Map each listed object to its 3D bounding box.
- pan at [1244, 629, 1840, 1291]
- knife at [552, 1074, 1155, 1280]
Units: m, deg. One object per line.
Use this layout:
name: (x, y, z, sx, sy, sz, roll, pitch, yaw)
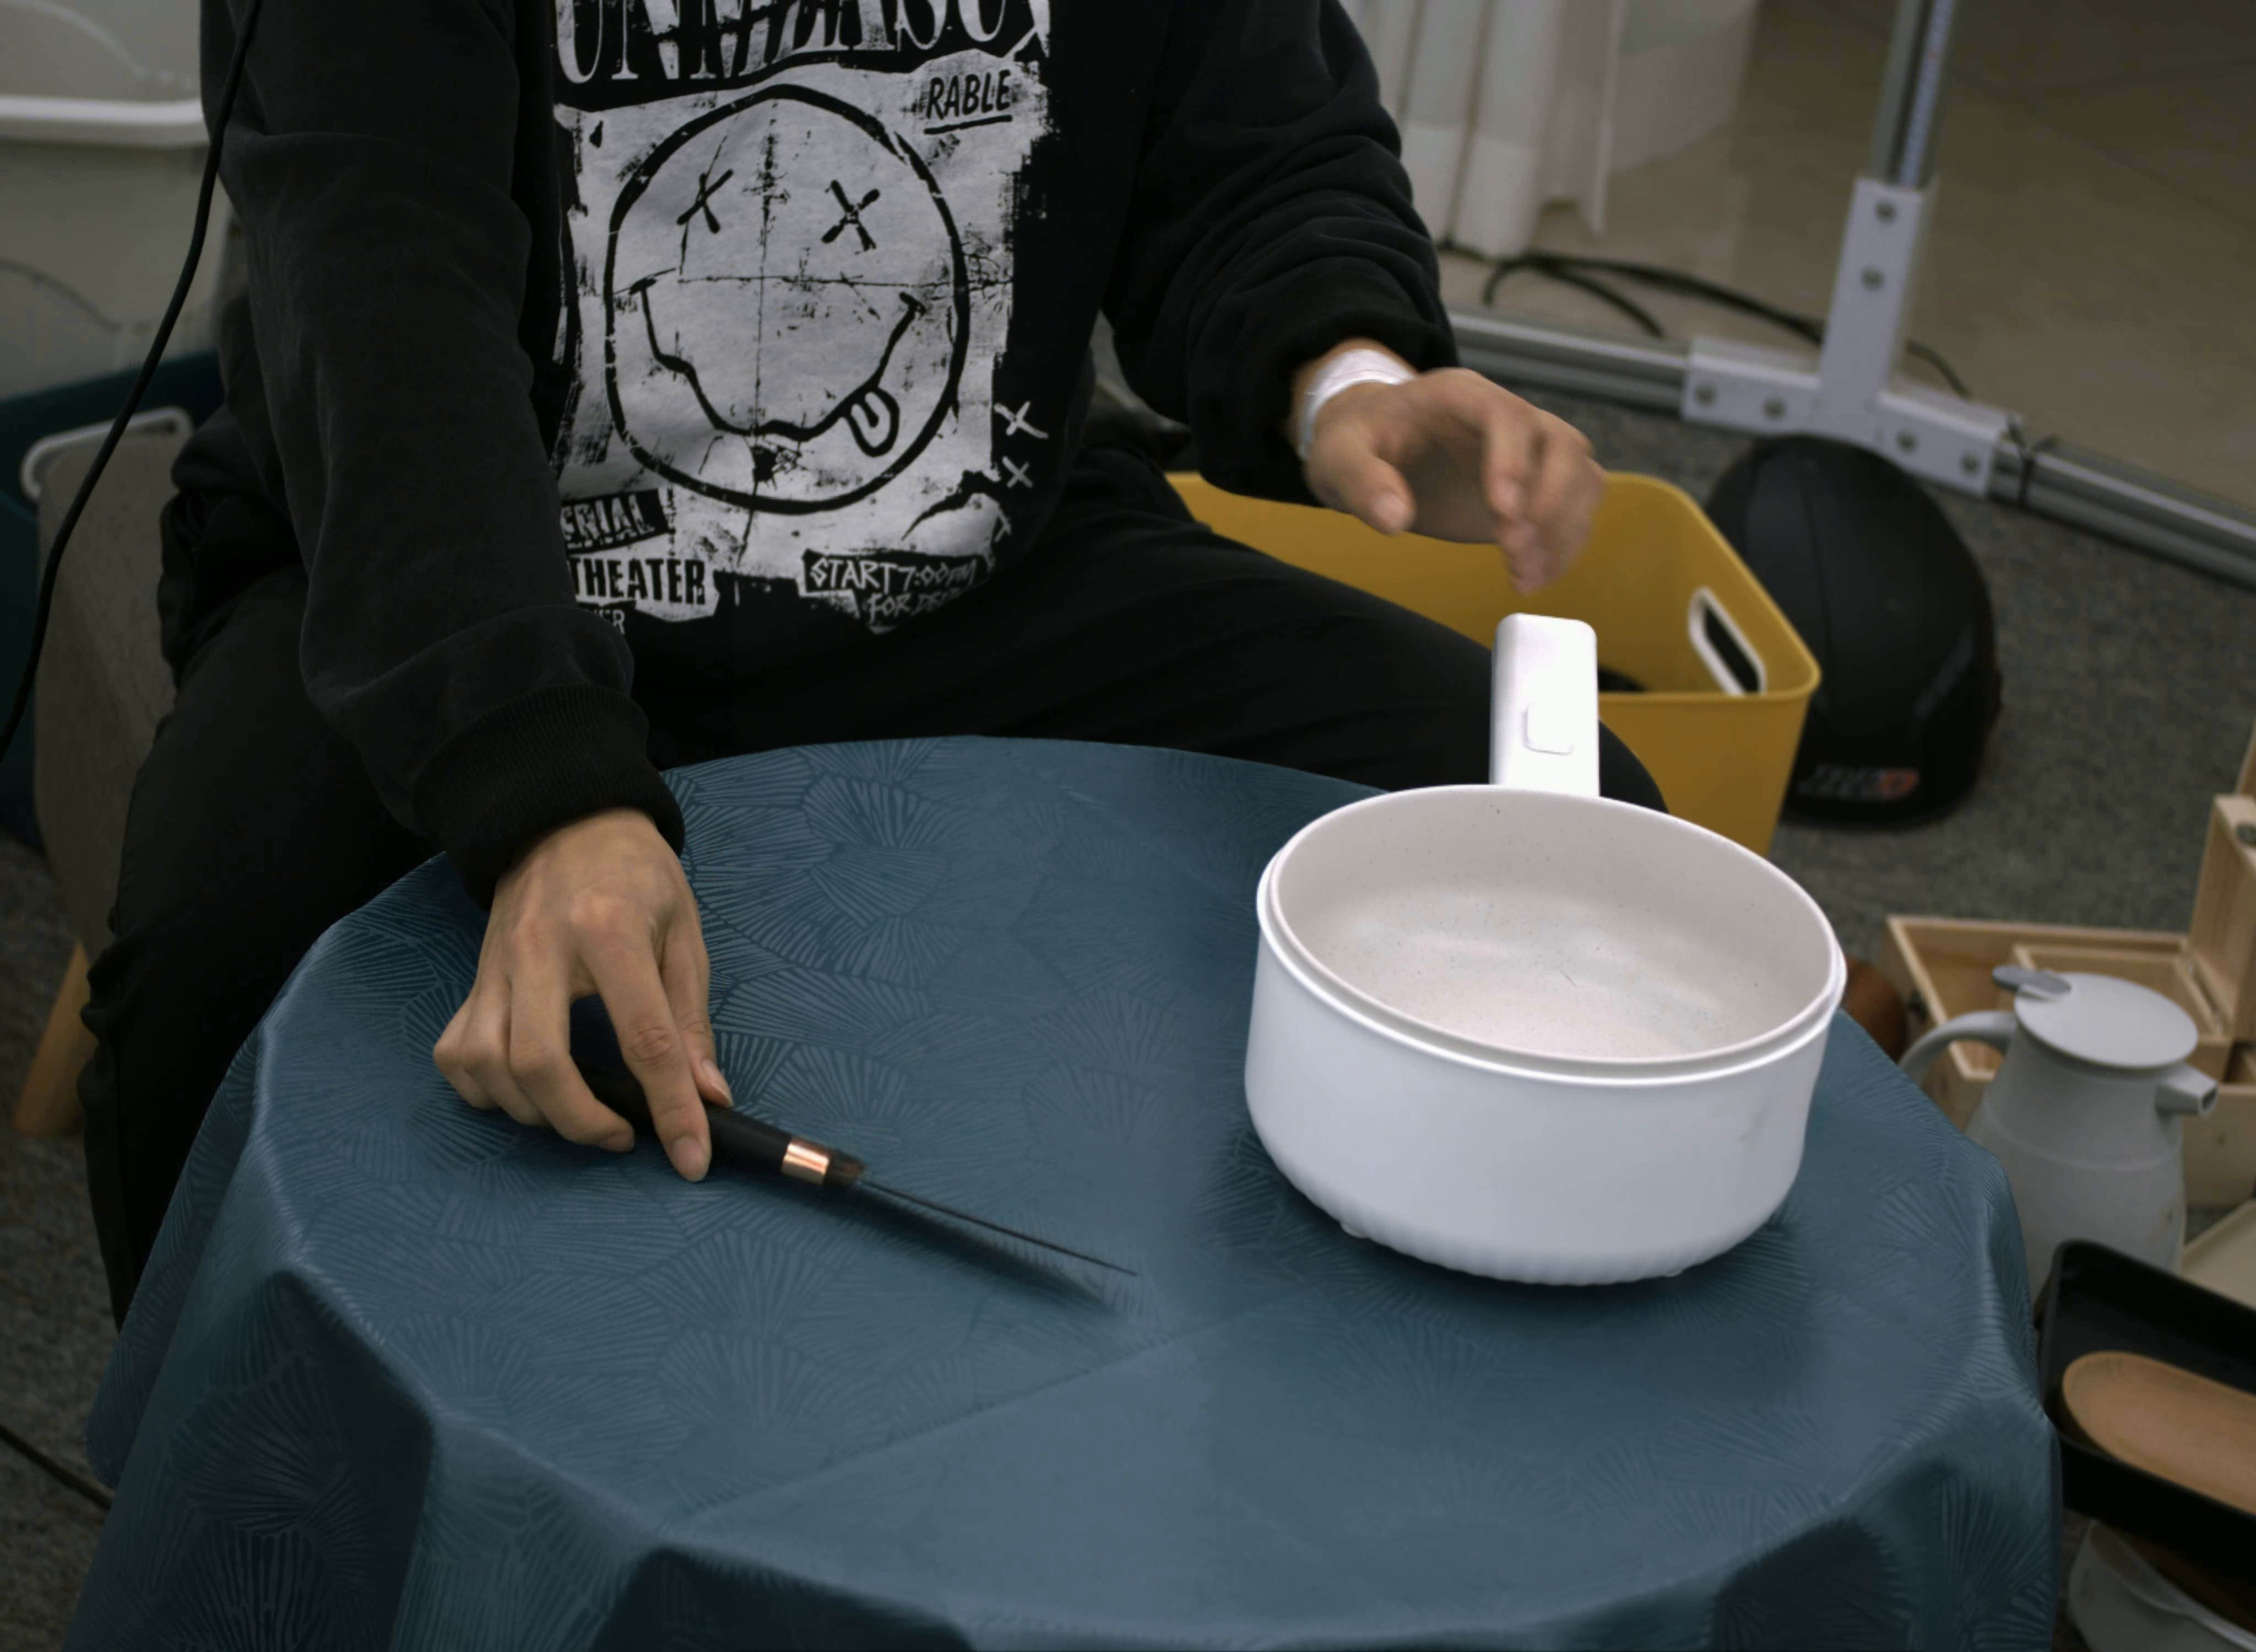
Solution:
pan: (0.143, 0.044, 1.891, 0.201, 0.102, 0.356, 5, 26, 2)
knife: (-0.094, 0.118, 1.779, 0.226, 0.017, 0.026, 16, -11, 22)
